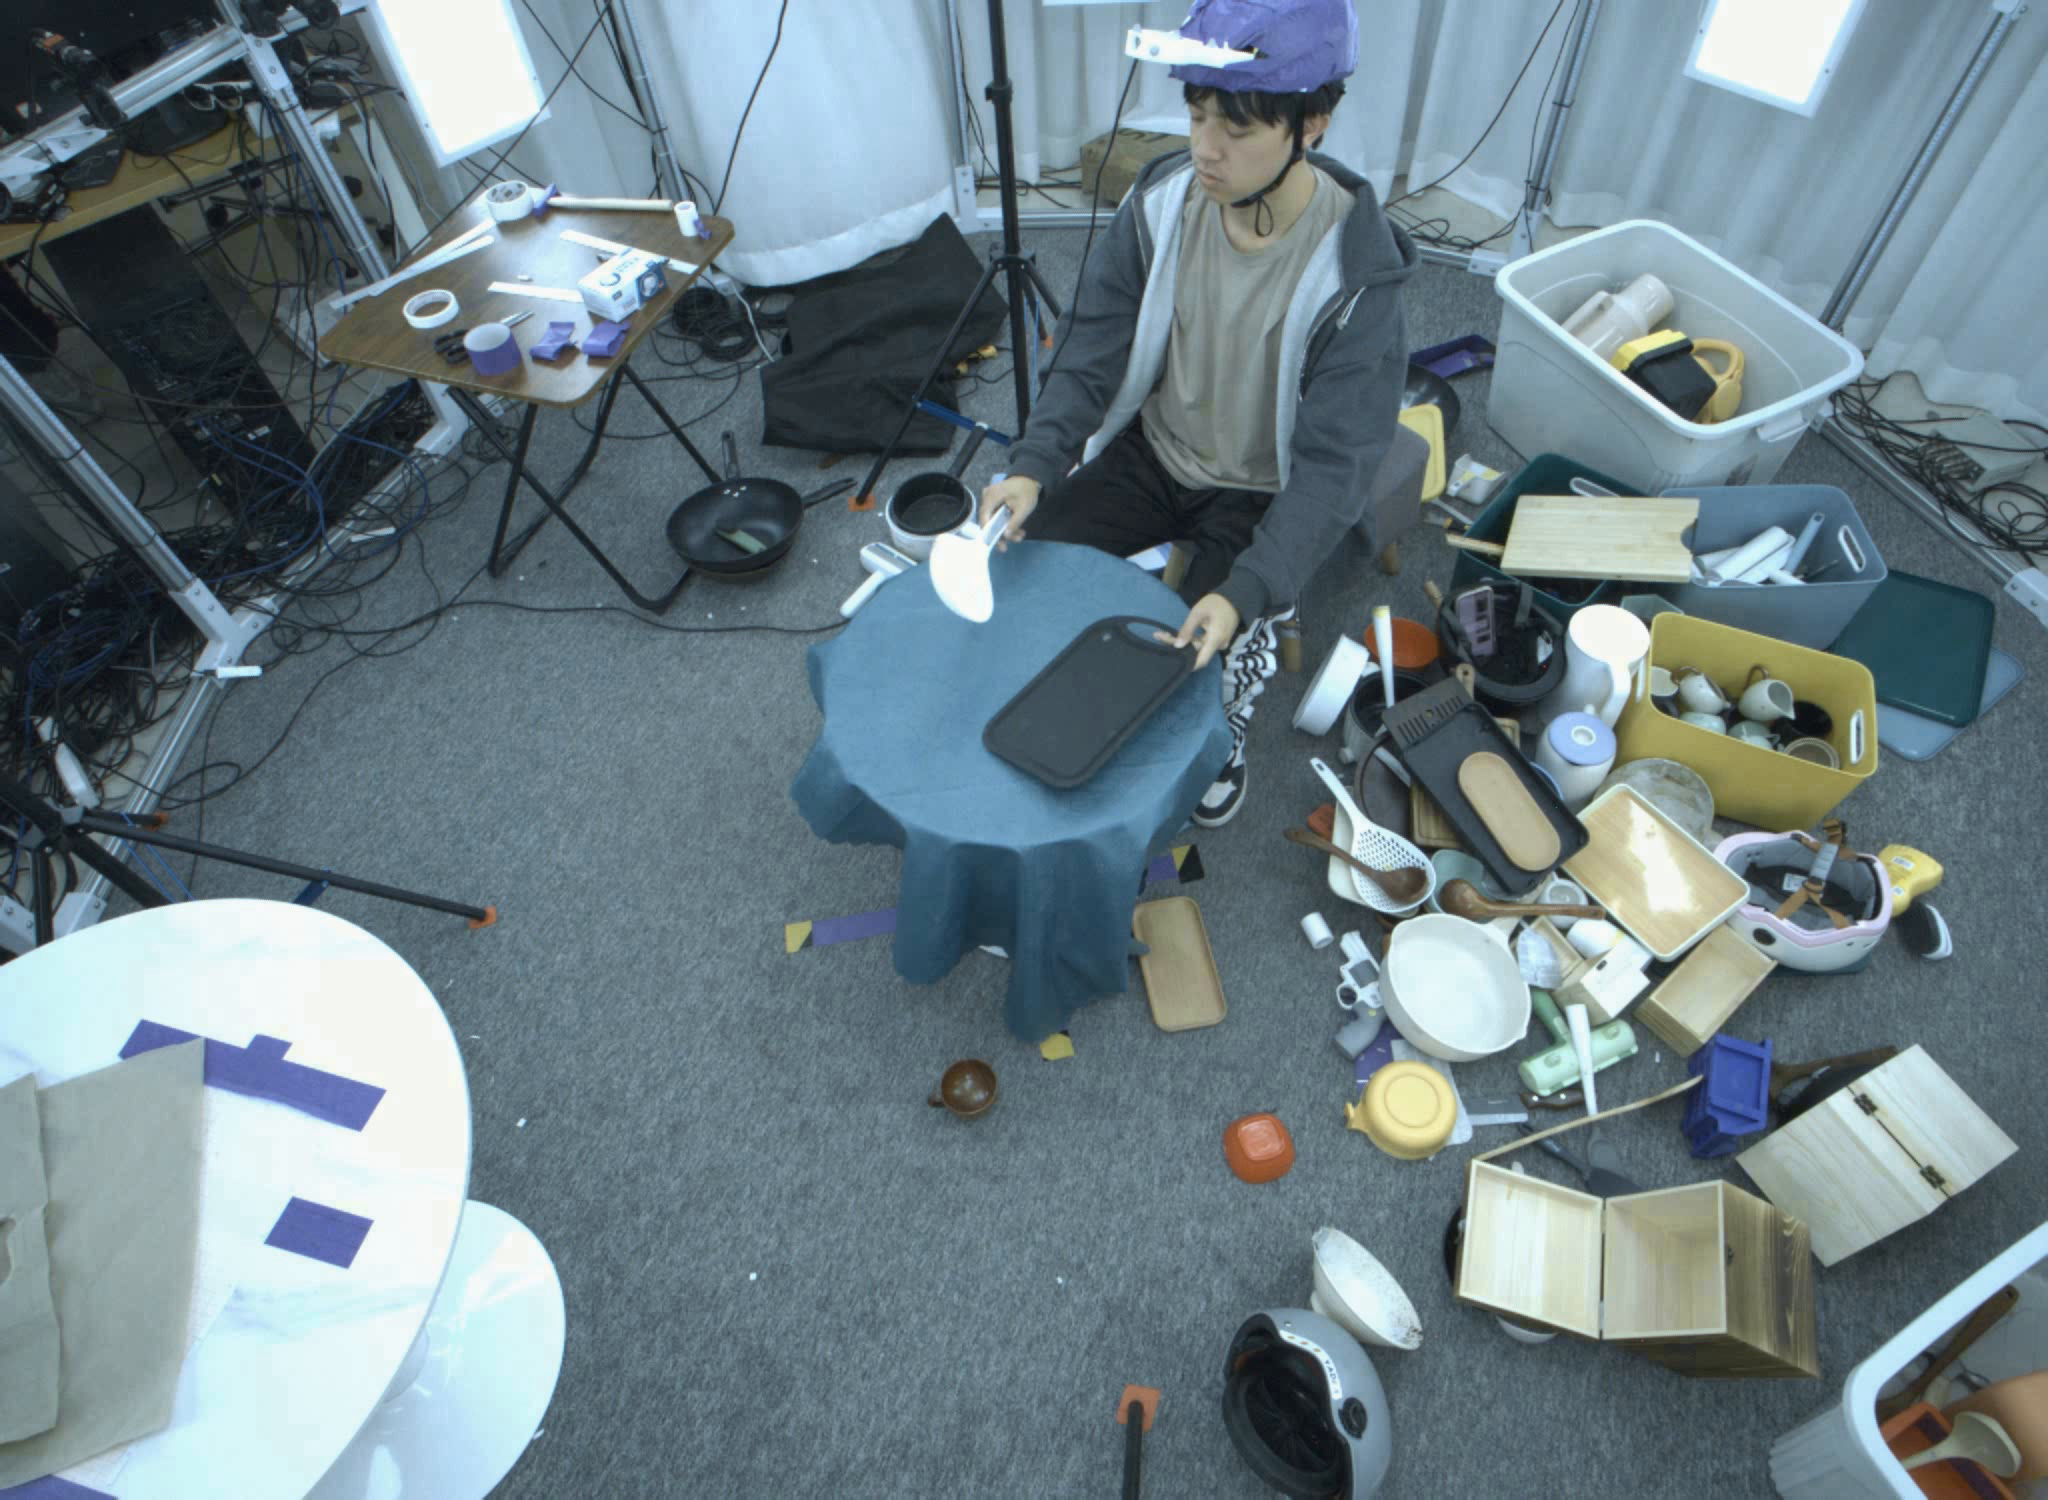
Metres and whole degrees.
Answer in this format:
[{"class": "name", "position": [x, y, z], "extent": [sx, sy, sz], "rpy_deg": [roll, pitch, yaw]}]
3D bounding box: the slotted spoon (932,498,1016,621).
[{"class": "slotted spoon", "position": [-0.065, -0.301, 1.820], "extent": [0.045, 0.138, 0.349], "rpy_deg": [-19, 26, 30]}]

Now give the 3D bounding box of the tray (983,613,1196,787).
[{"class": "tray", "position": [0.100, -0.087, 1.803], "extent": [0.206, 0.010, 0.327], "rpy_deg": [30, 65, 36]}]
